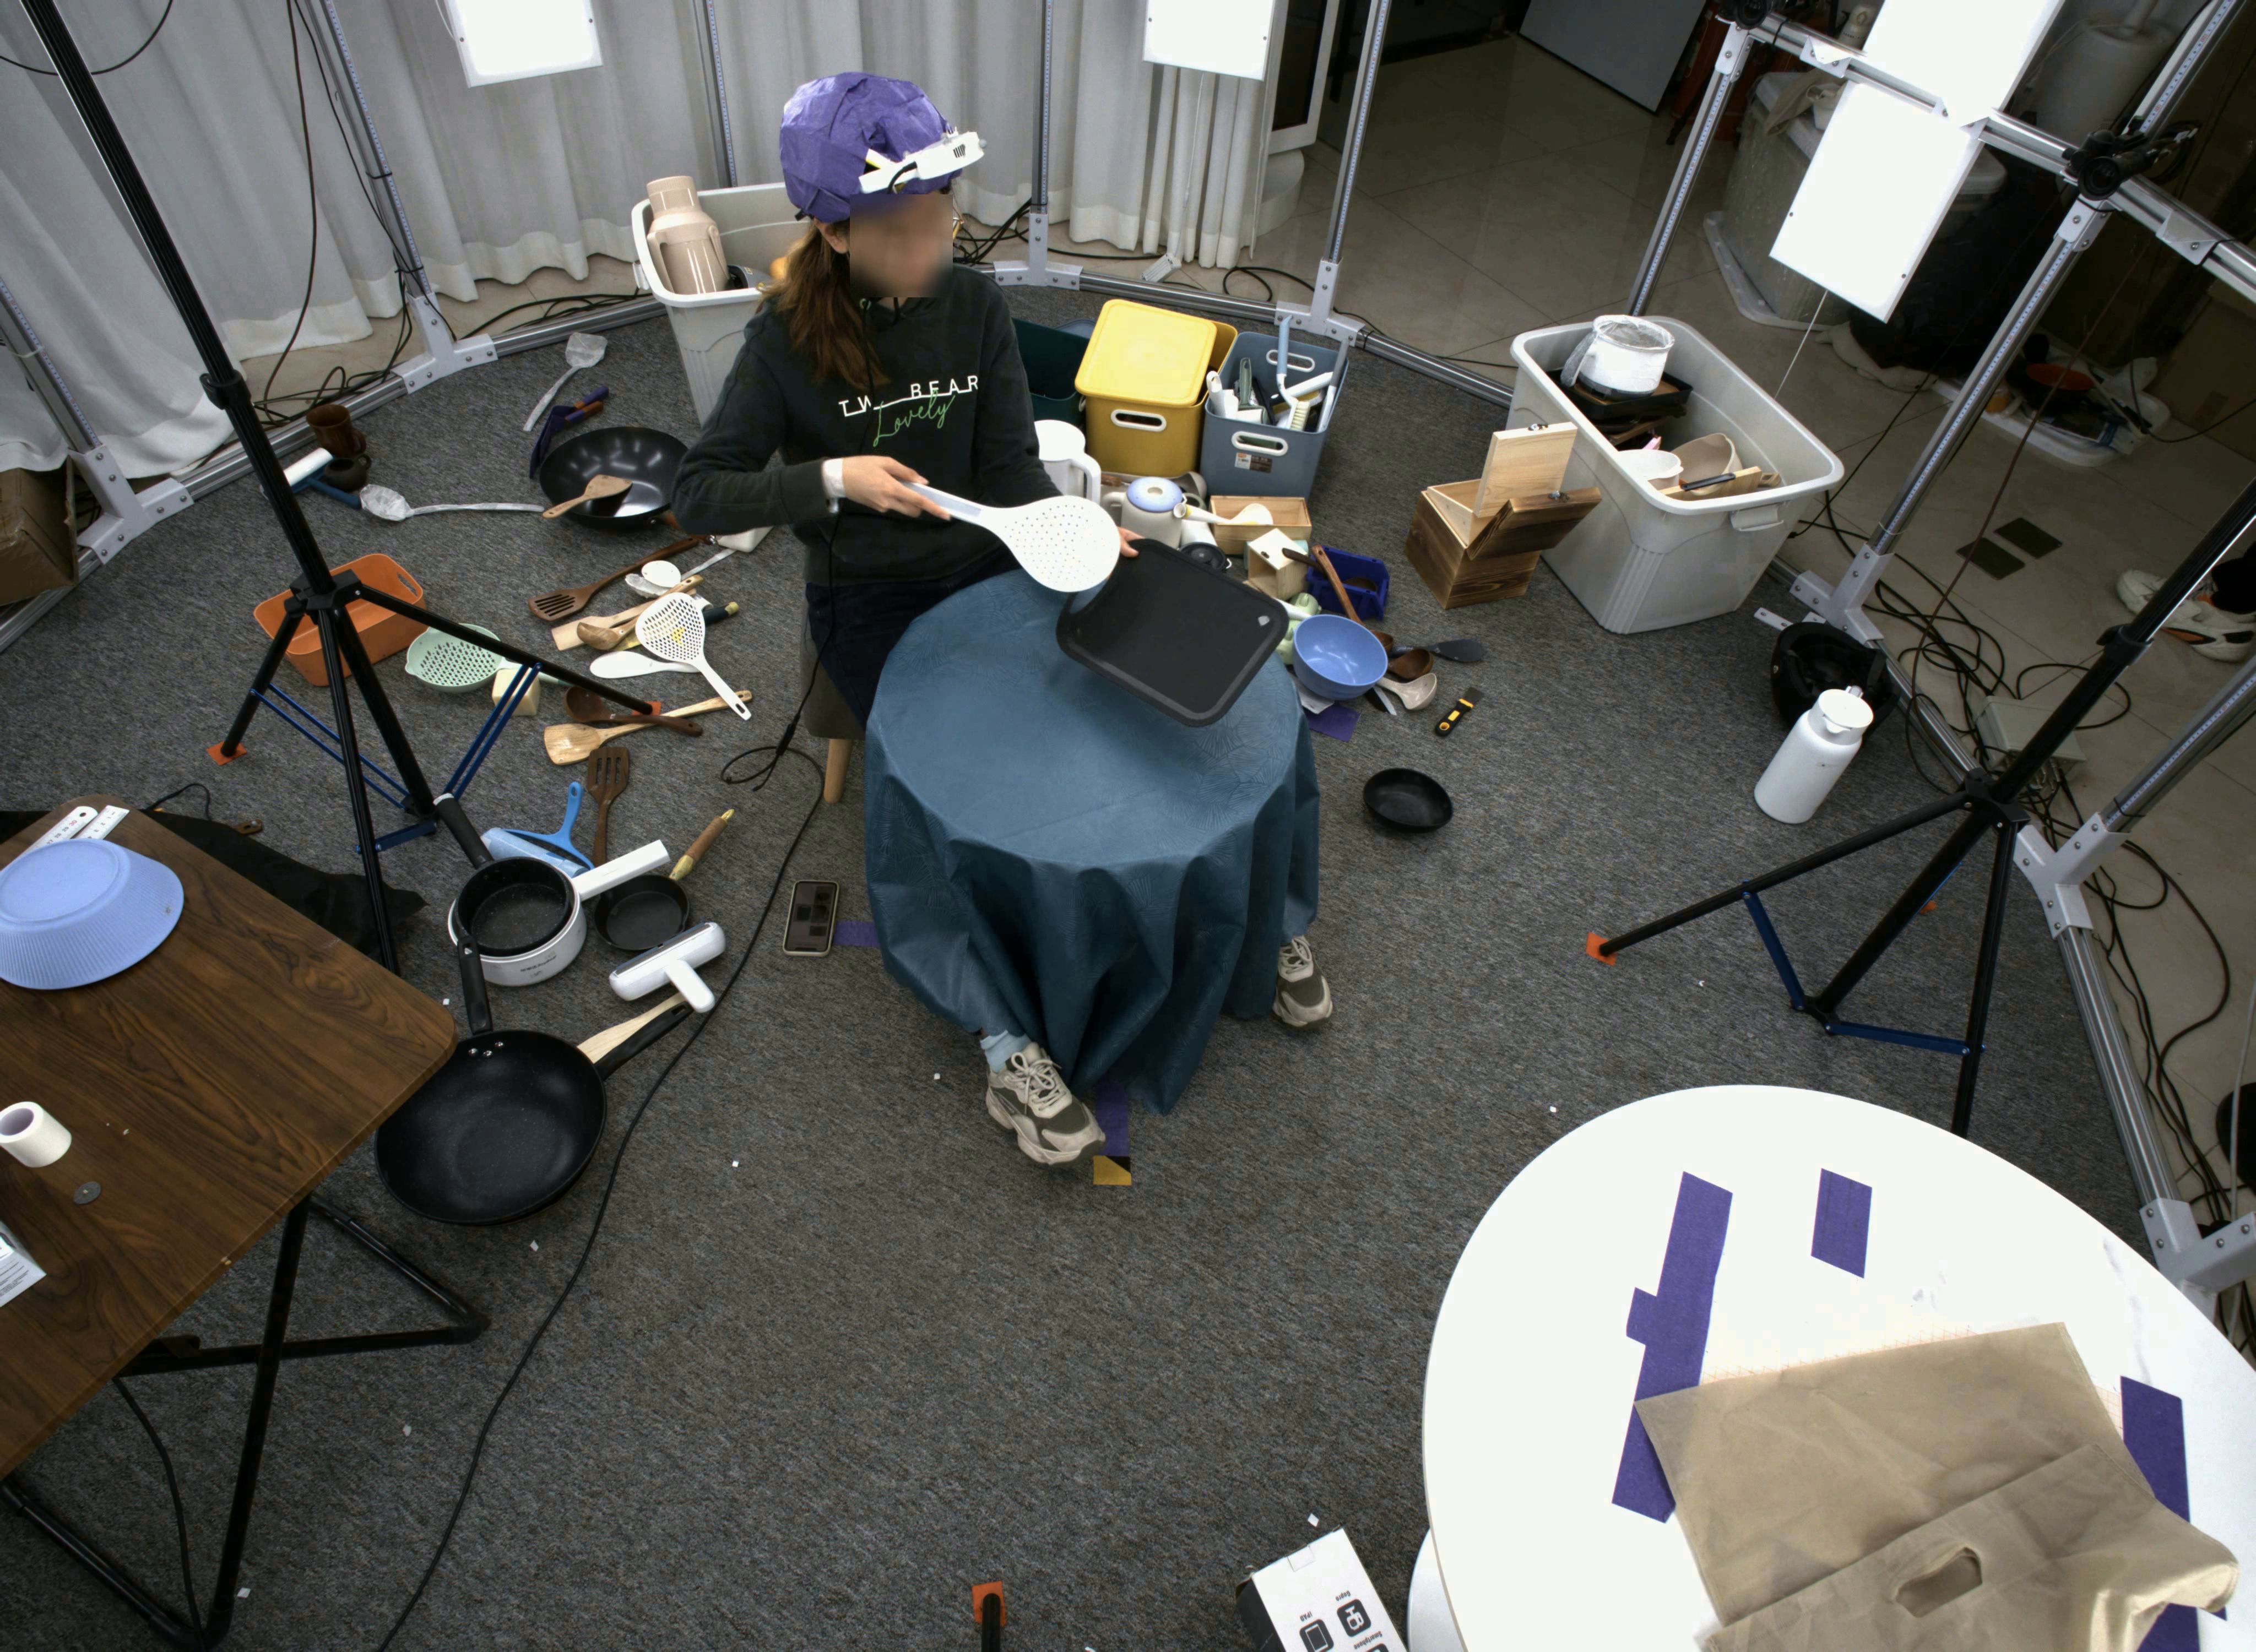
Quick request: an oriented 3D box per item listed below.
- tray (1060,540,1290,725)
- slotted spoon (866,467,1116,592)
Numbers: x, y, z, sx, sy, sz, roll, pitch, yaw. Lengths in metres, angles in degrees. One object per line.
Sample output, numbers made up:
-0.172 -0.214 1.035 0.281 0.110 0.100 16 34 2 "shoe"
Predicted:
0.052 -0.274 1.761 0.330 0.009 0.212 33 81 32 "tray"
-0.186 -0.415 1.755 0.349 0.045 0.137 20 75 -4 "slotted spoon"
